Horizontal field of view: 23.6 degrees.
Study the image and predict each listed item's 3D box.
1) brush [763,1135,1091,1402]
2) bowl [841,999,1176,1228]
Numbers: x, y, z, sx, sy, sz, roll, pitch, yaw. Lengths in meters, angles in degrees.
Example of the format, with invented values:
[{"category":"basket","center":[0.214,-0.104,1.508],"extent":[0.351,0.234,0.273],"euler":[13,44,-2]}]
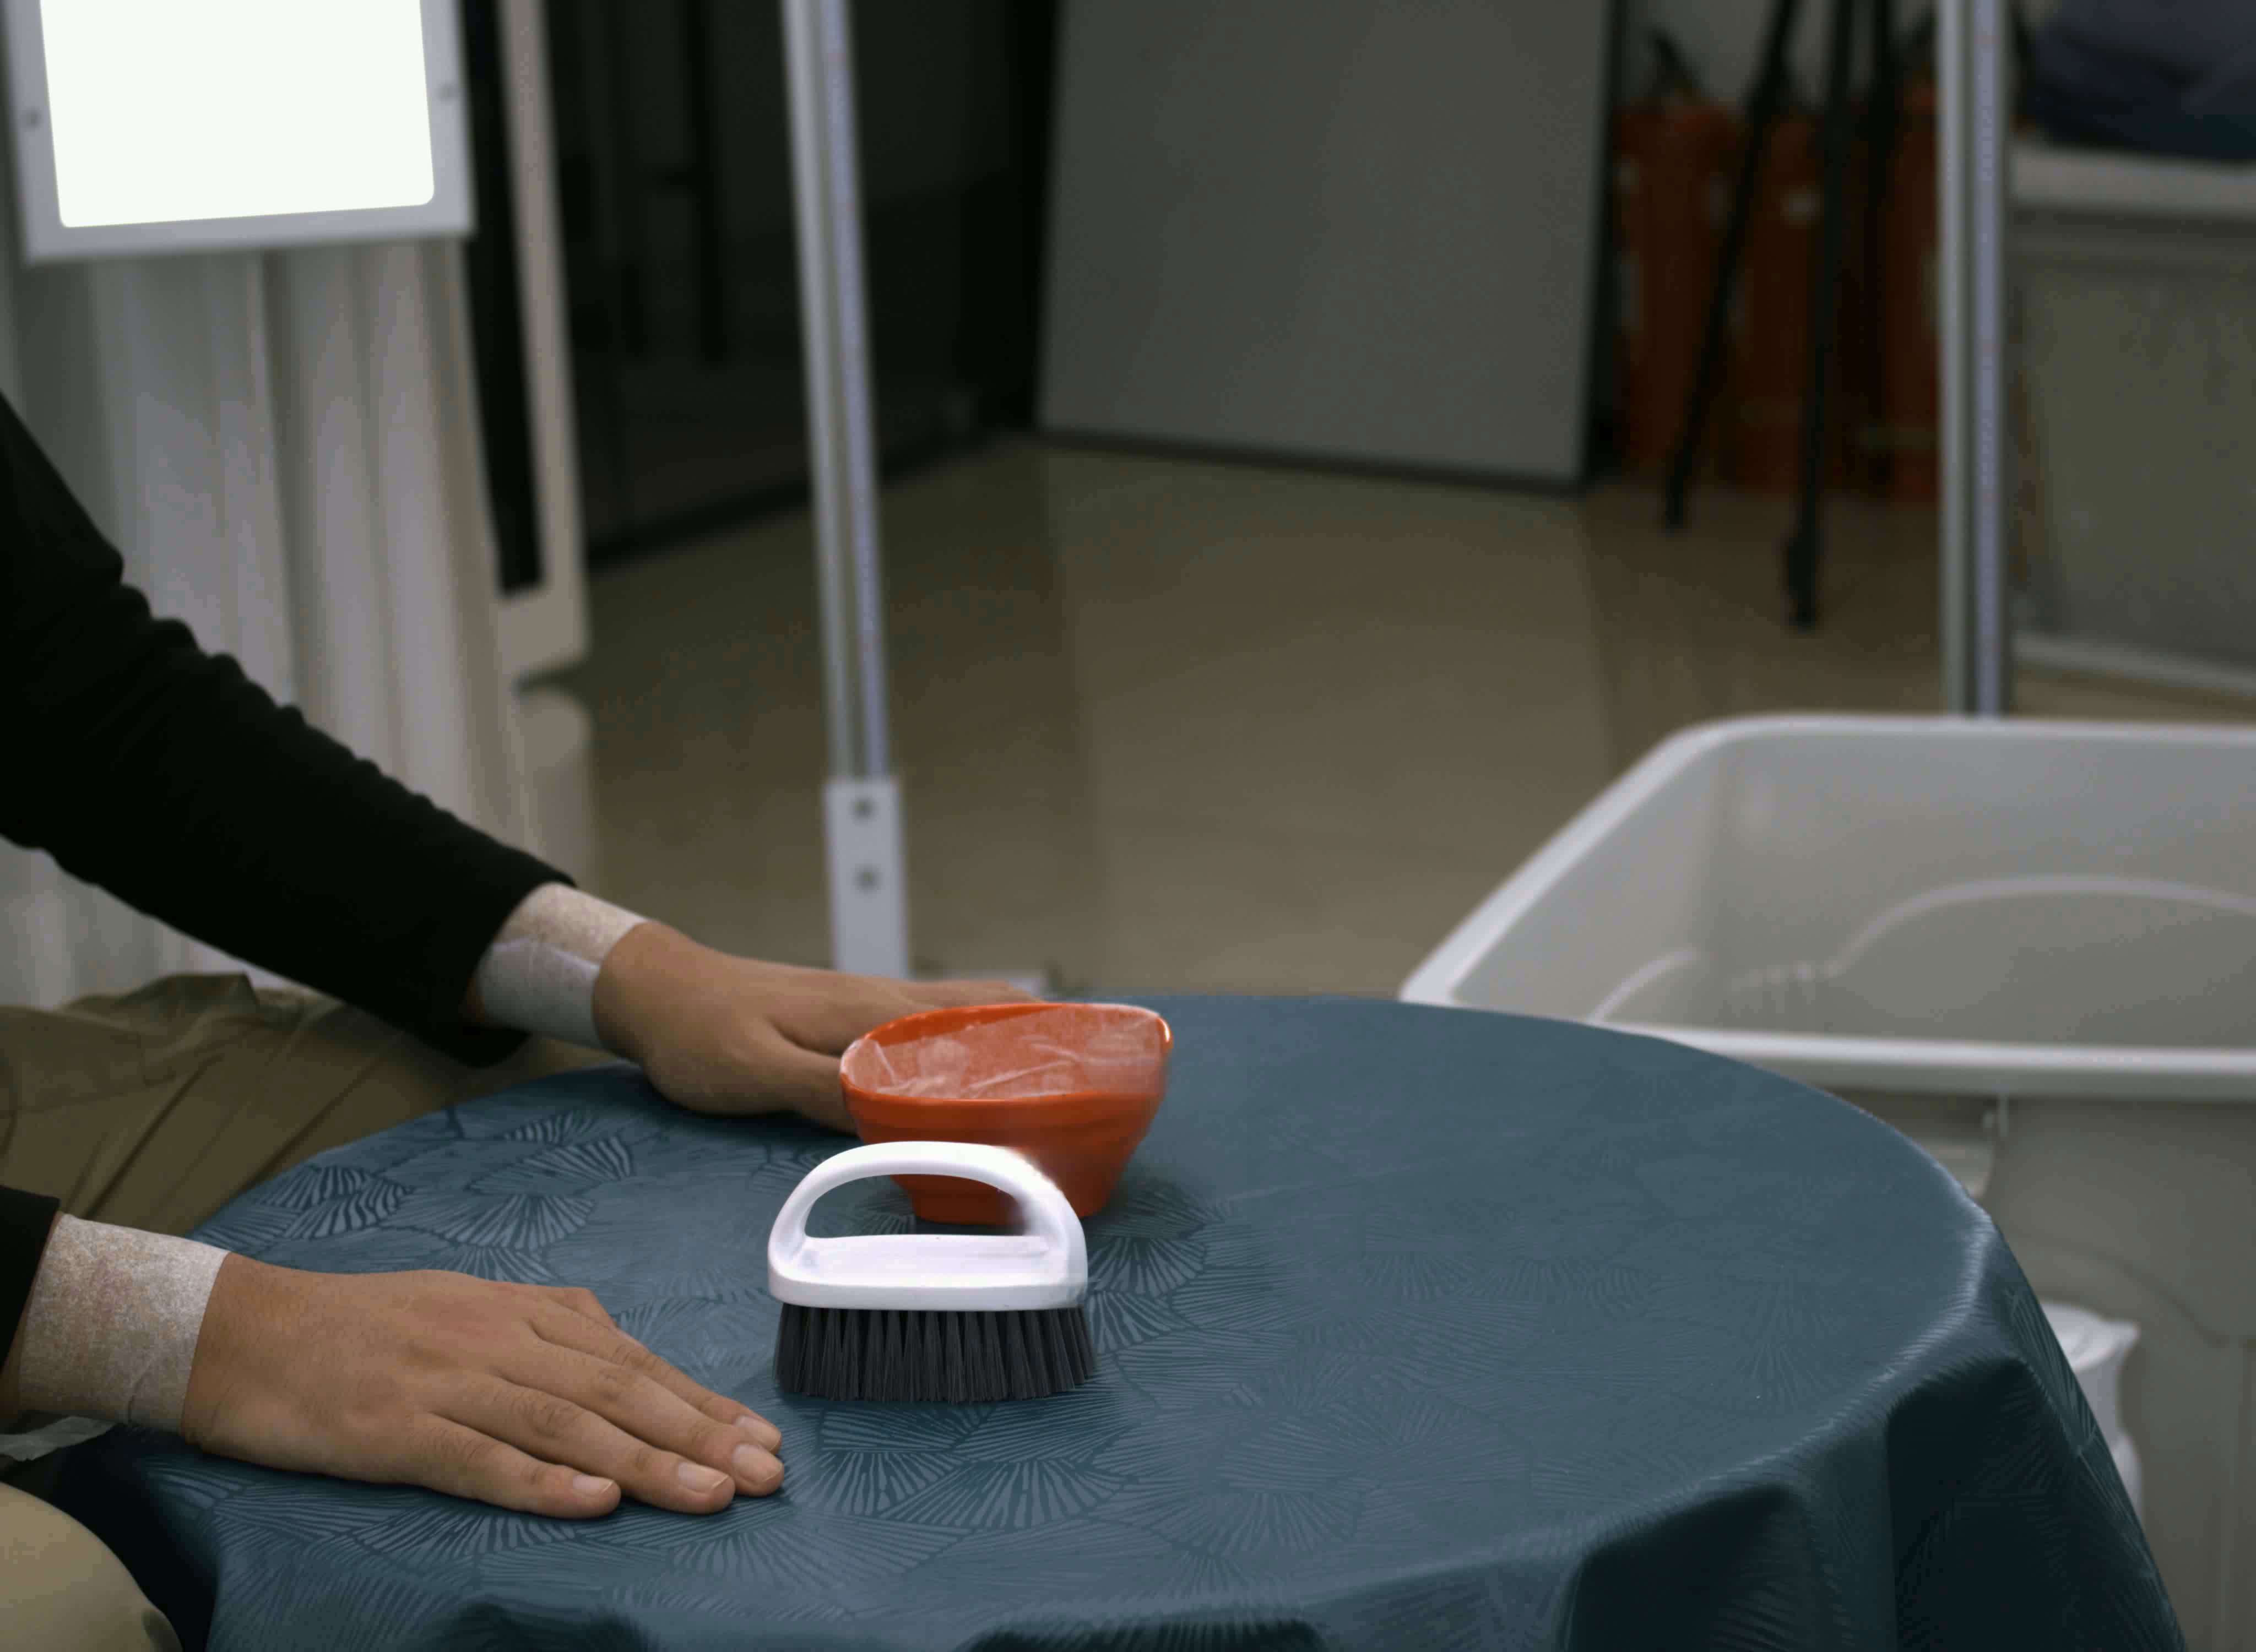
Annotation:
[{"category":"brush","center":[-0.061,0.128,1.603],"extent":[0.099,0.073,0.050],"euler":[0,15,17]},{"category":"bowl","center":[-0.038,0.097,1.770],"extent":[0.117,0.052,0.119],"euler":[-2,16,0]}]
